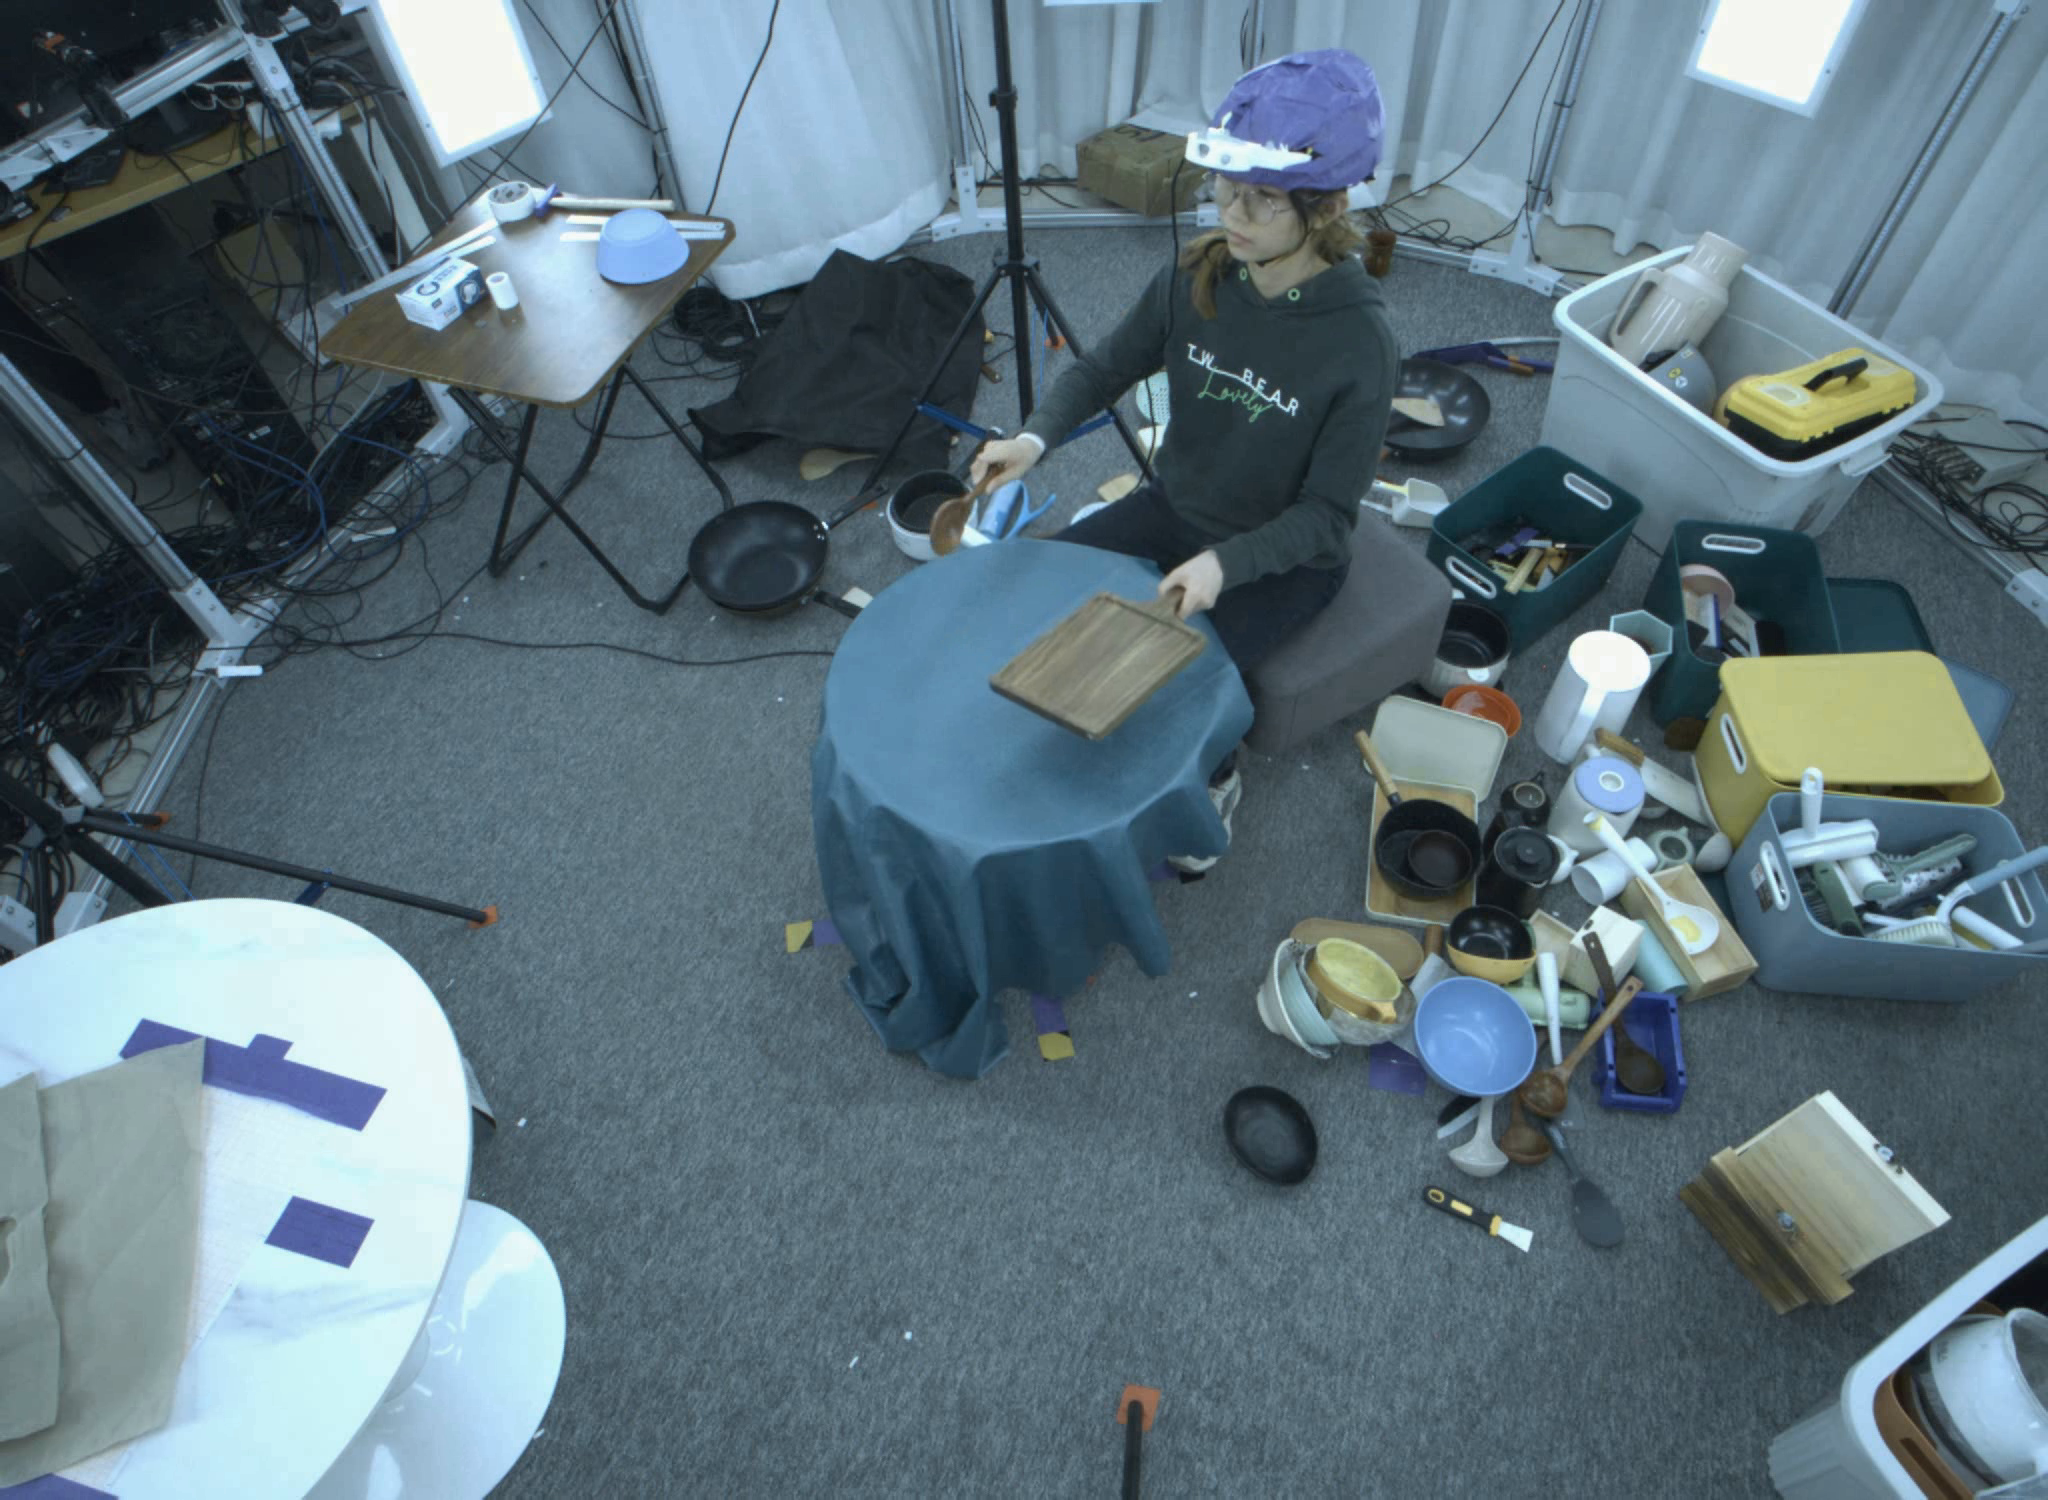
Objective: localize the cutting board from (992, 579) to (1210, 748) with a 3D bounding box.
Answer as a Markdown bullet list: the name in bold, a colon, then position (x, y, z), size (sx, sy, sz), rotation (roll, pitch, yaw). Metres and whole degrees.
- **cutting board**: position (0.140, -0.142, 1.724), size (0.197, 0.023, 0.355), rotation (28, 54, 32)

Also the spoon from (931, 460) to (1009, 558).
- **spoon**: position (-0.082, -0.367, 1.824), size (0.017, 0.077, 0.216), rotation (12, 52, 32)
